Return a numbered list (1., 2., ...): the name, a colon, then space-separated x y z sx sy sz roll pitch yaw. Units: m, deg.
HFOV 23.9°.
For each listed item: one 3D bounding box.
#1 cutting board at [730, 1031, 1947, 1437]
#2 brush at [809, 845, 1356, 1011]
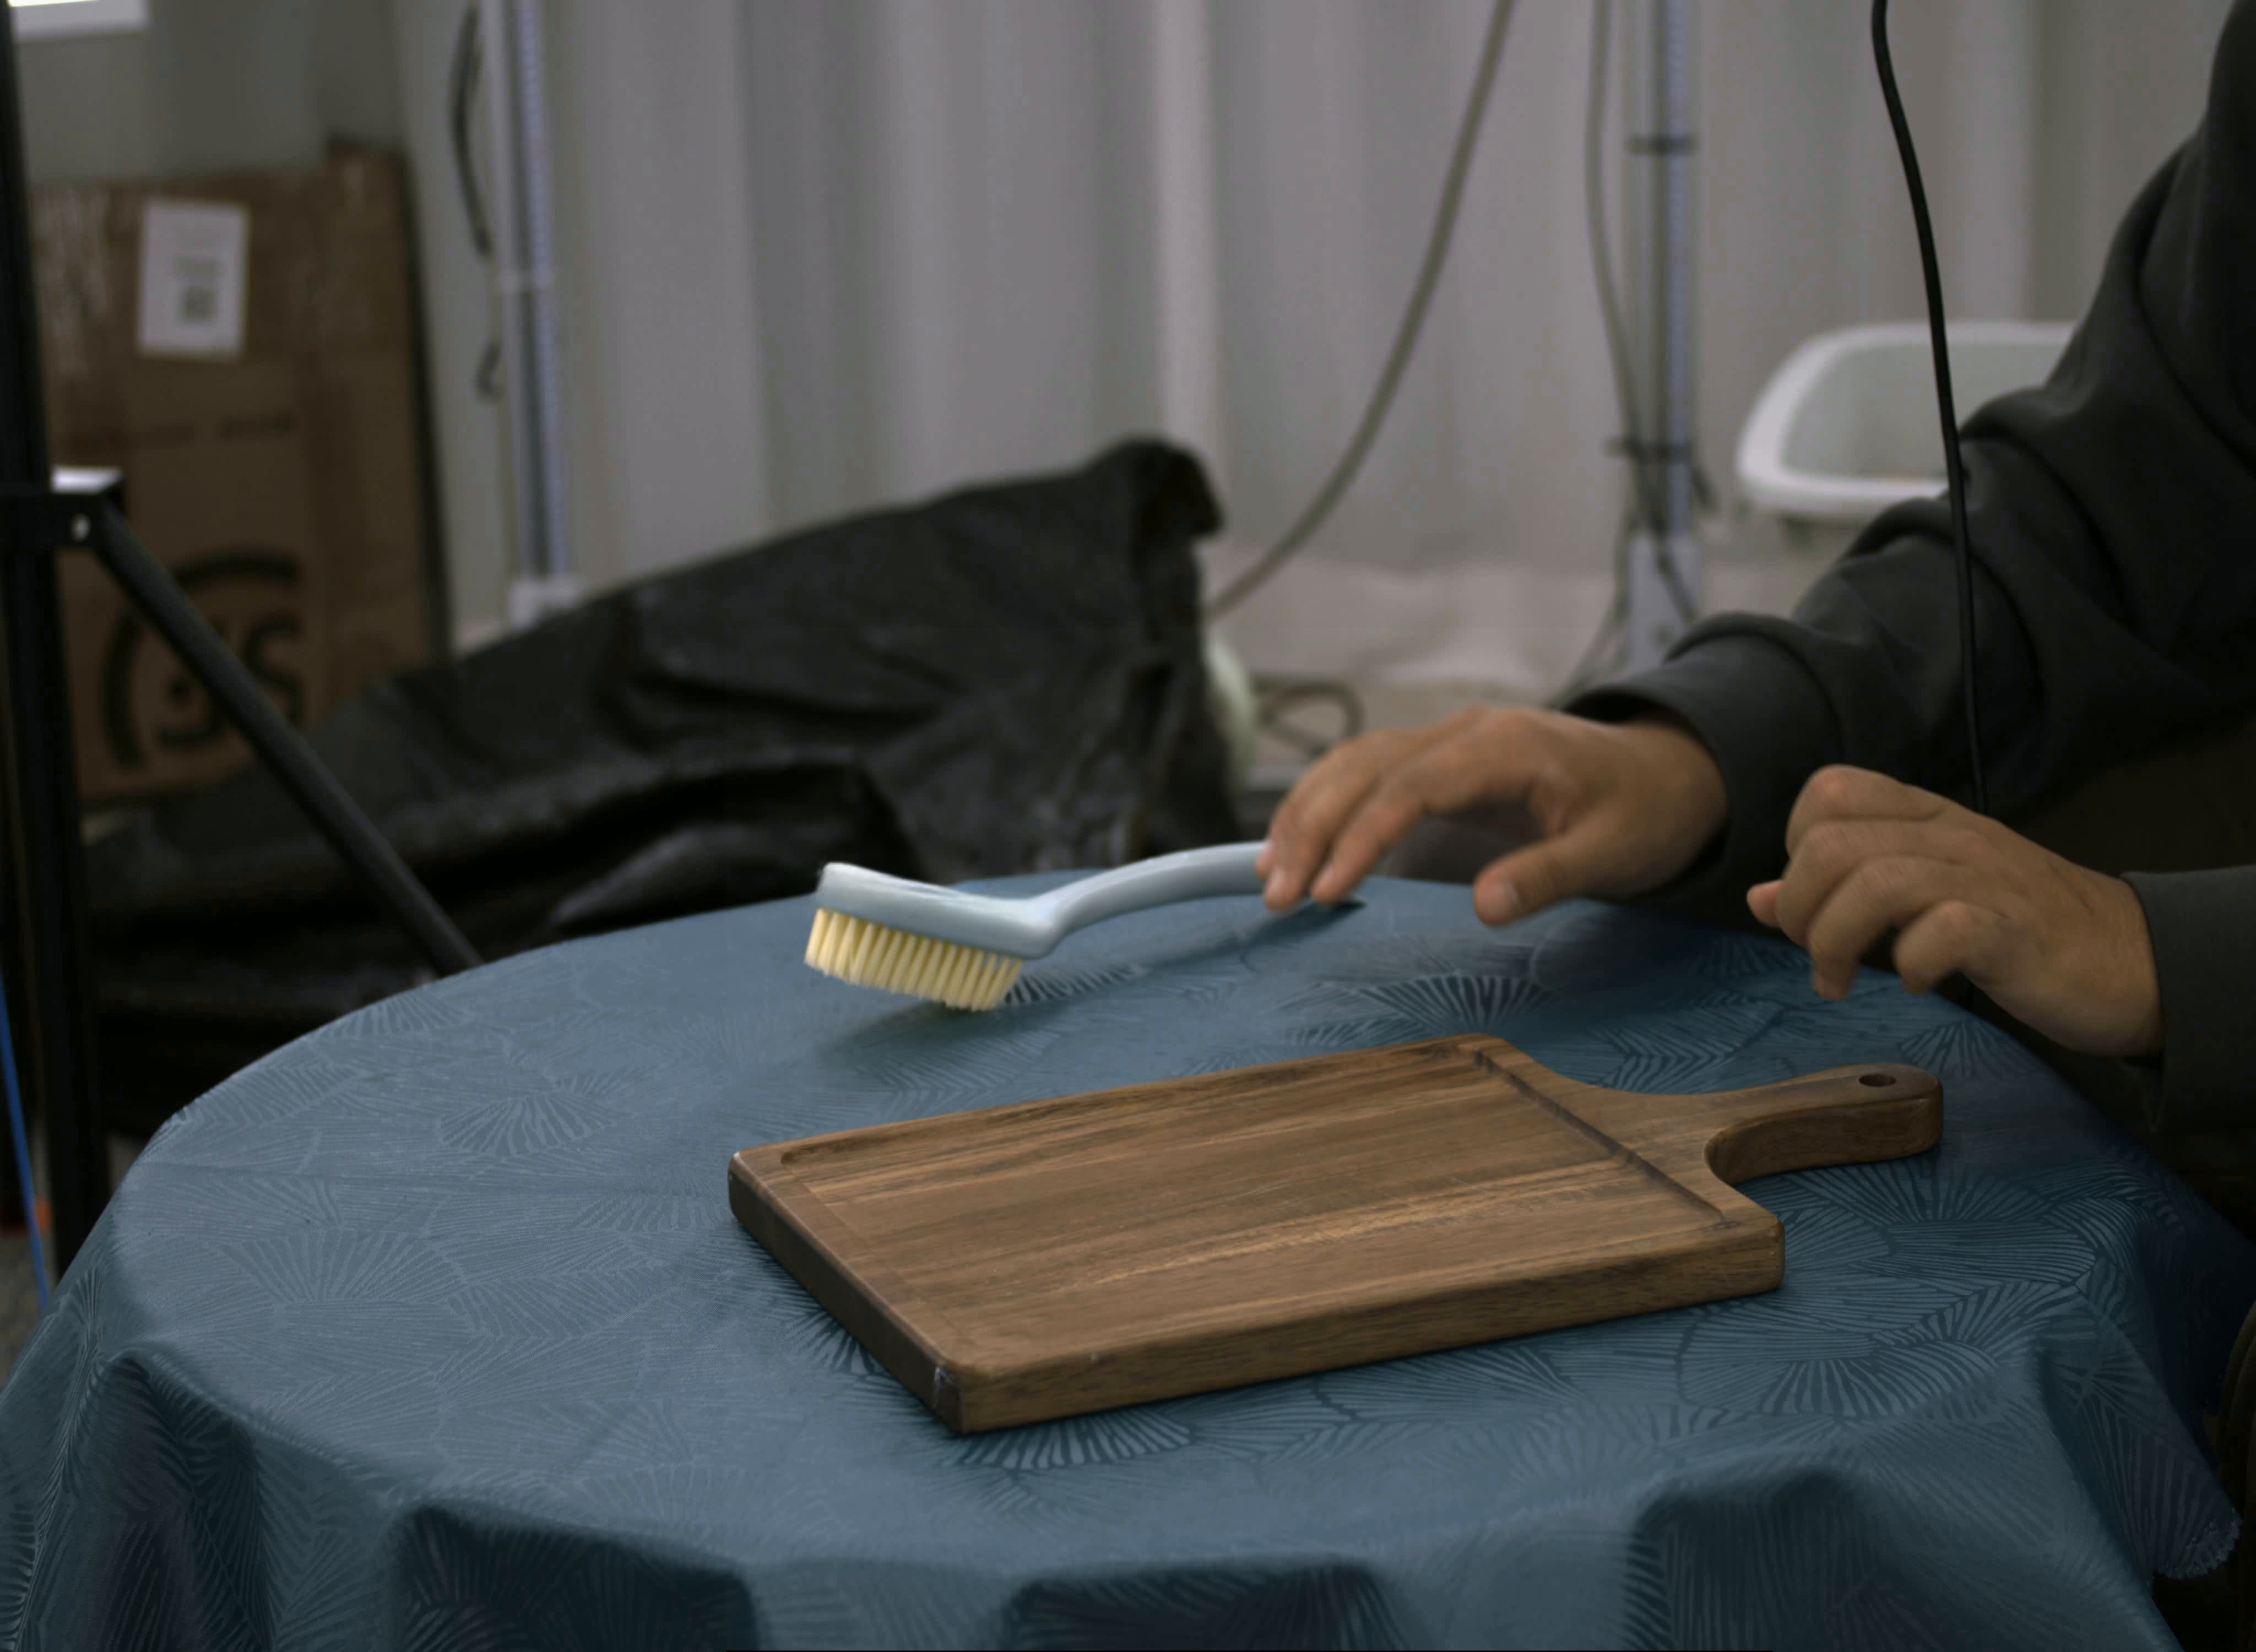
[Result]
1. cutting board: 0.080 0.105 1.517 0.346 0.023 0.205 -8 17 -19
2. brush: -0.013 0.033 1.766 0.223 0.050 0.038 -4 19 -40
